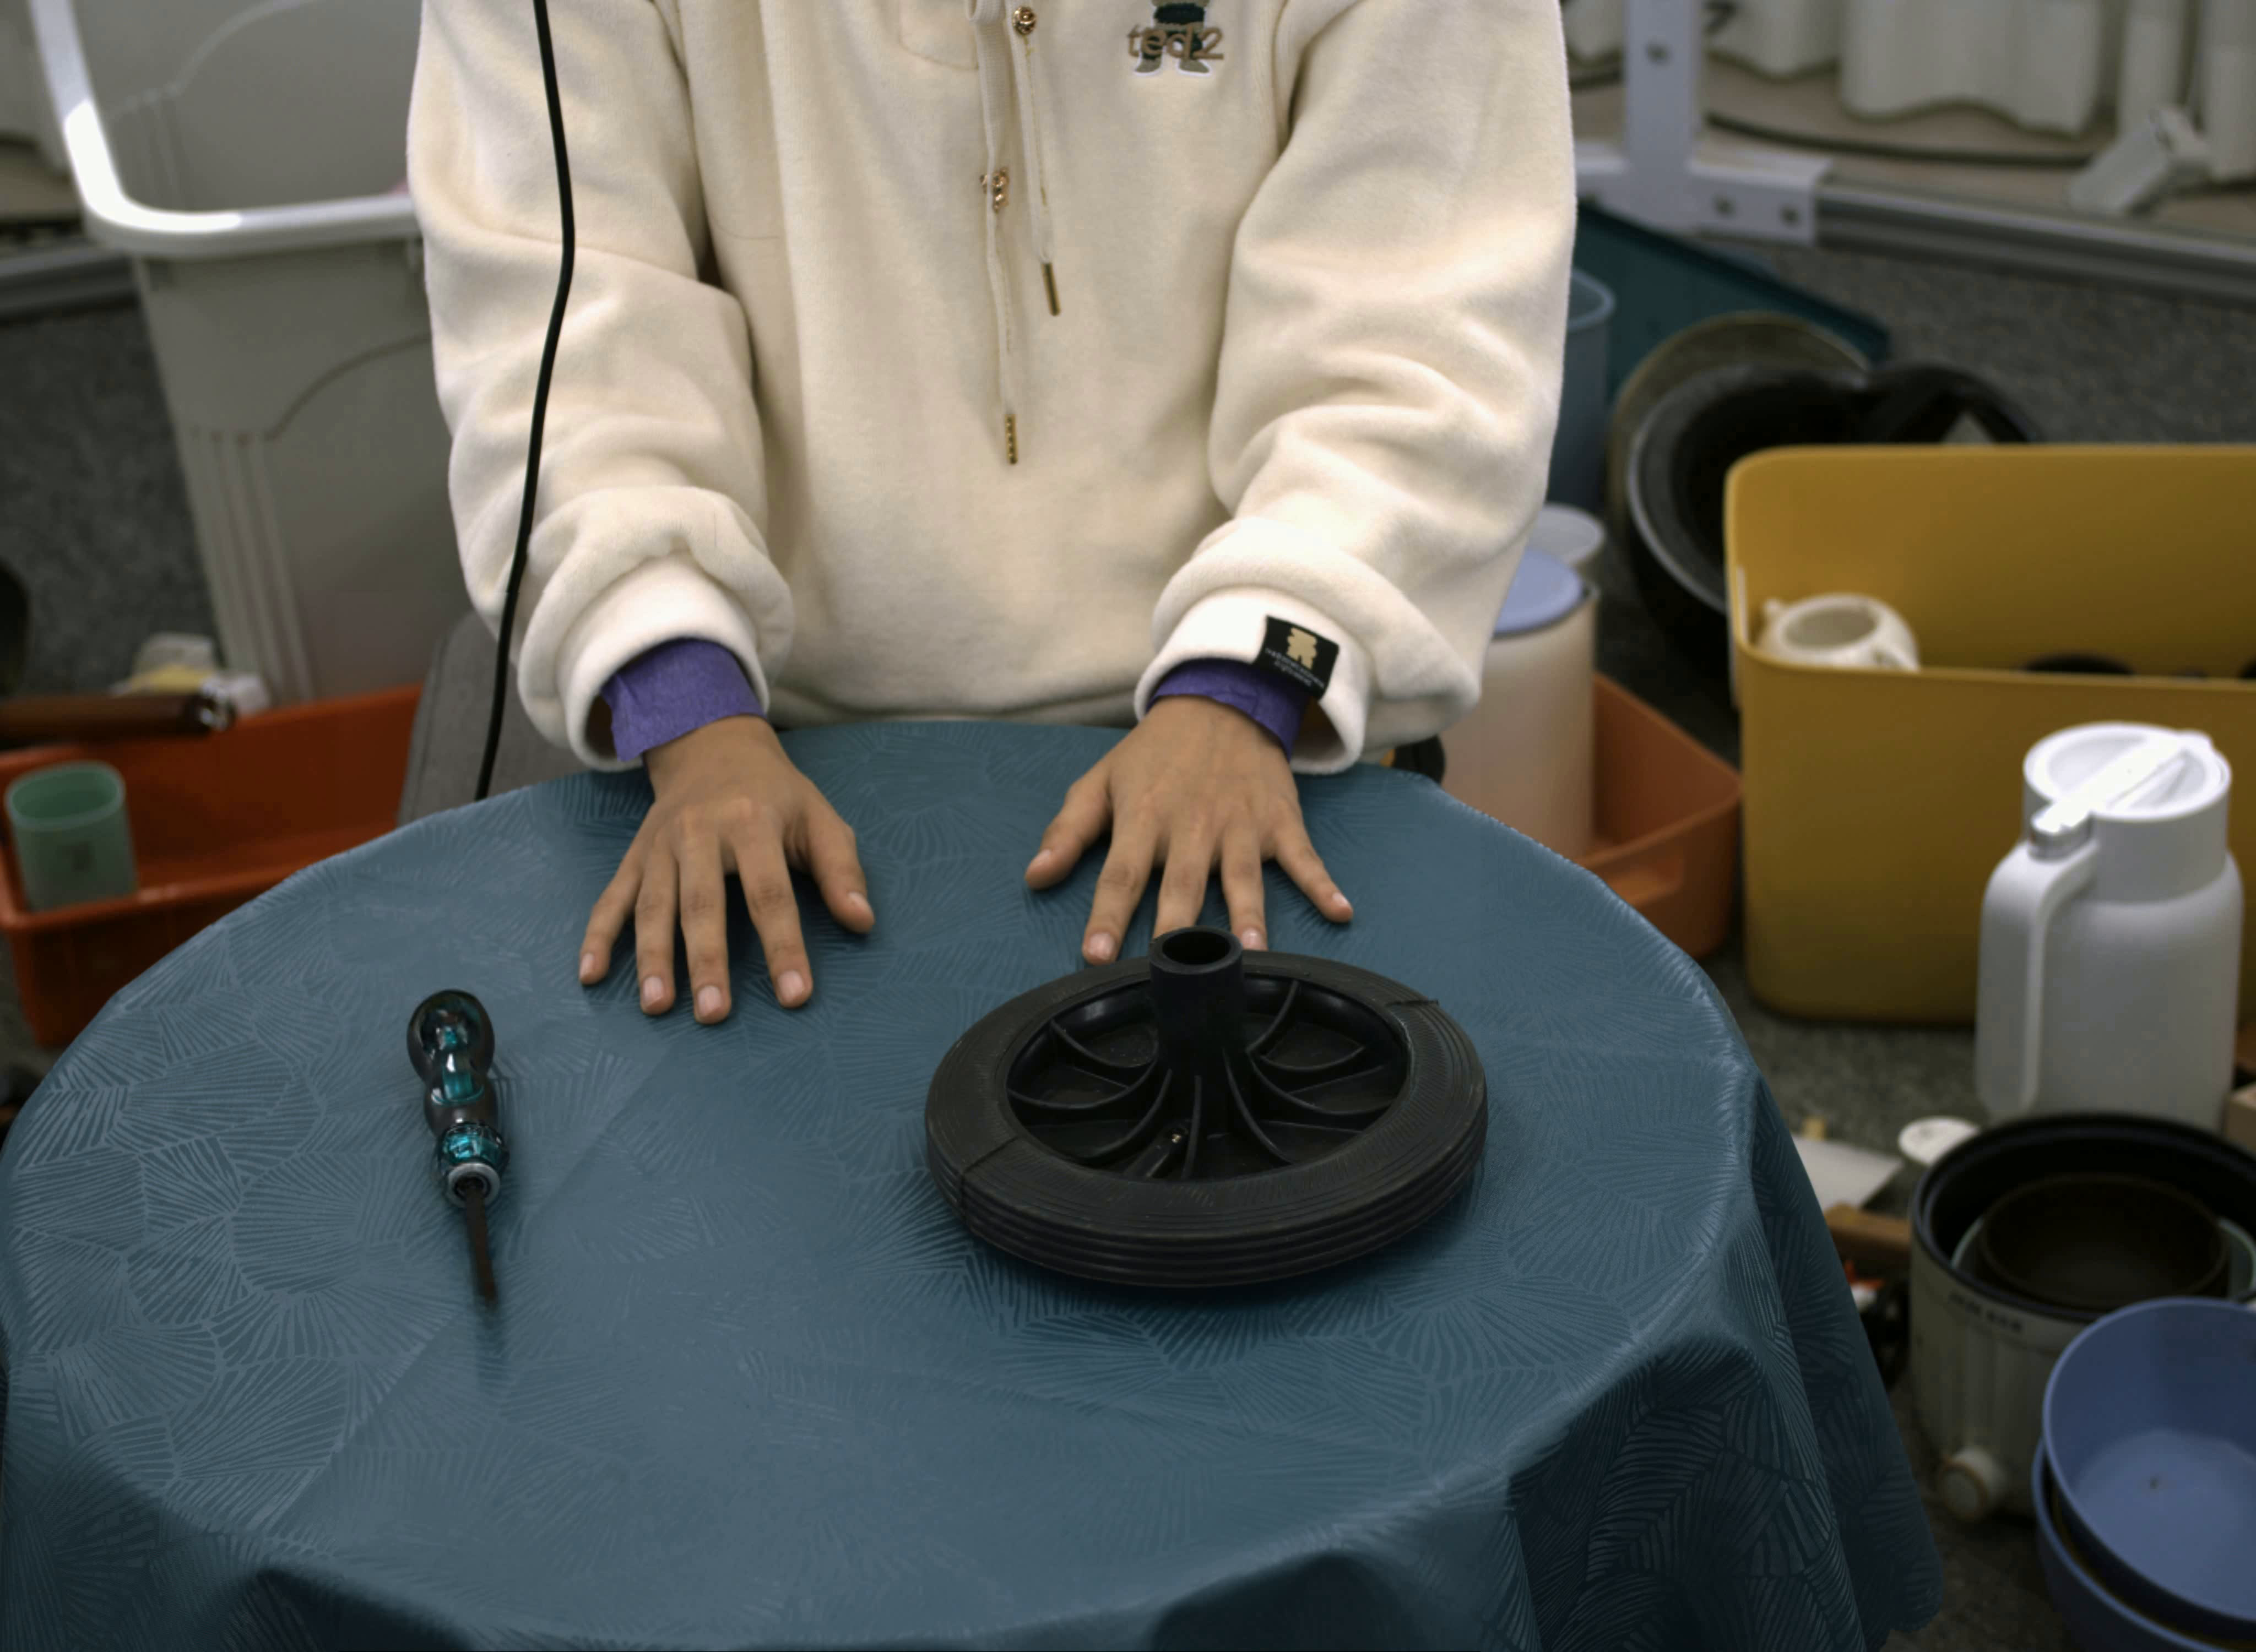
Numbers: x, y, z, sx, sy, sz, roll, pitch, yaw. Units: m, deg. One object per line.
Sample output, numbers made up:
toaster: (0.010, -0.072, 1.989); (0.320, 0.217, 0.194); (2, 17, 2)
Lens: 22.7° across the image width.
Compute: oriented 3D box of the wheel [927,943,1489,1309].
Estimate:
wheel: (0.025, 0.081, 1.858); (0.186, 0.078, 0.193); (0, 30, 5)

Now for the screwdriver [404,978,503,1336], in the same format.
screwdriver: (-0.222, 0.113, 1.878); (0.033, 0.033, 0.193); (-6, 33, -7)
